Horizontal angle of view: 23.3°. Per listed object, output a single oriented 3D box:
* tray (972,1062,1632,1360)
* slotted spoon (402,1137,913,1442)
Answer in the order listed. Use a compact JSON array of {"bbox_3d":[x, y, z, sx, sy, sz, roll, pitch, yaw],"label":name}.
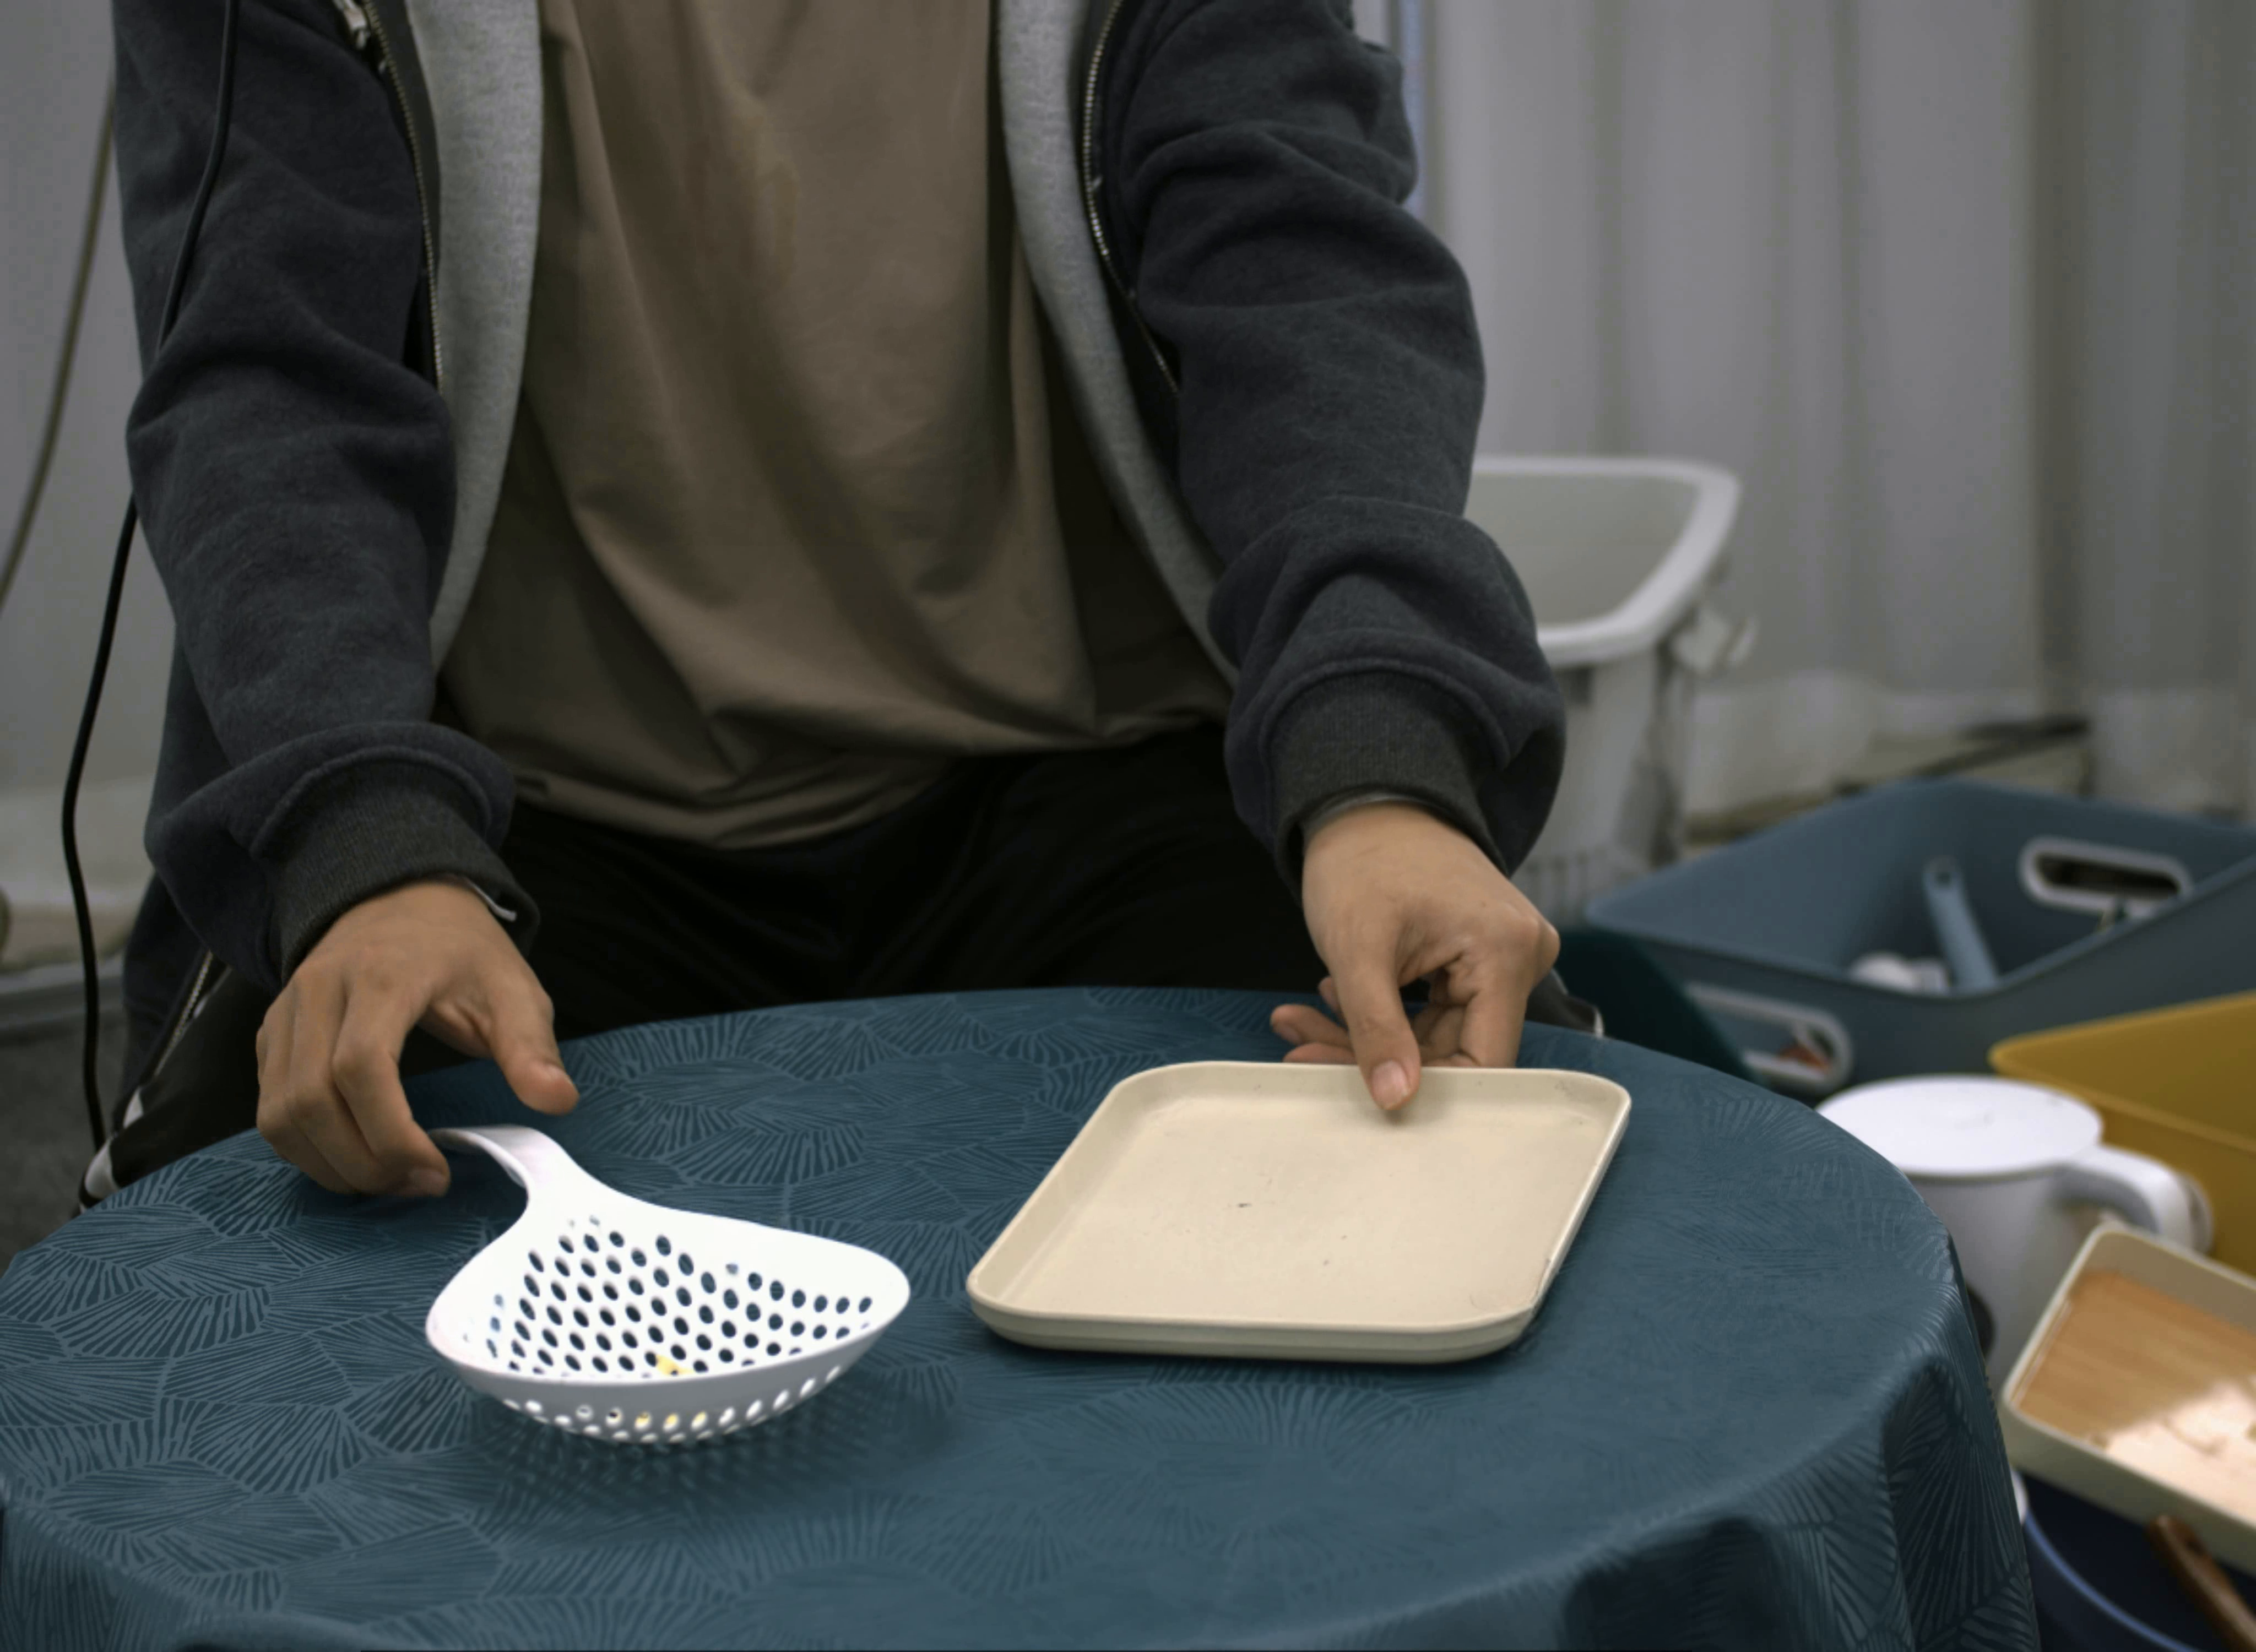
[{"bbox_3d":[0.057,0.116,1.665,0.171,0.017,0.241,0,15,14],"label":"tray"},{"bbox_3d":[-0.165,0.124,1.632,0.136,0.050,0.351,-10,17,-18],"label":"slotted spoon"}]
